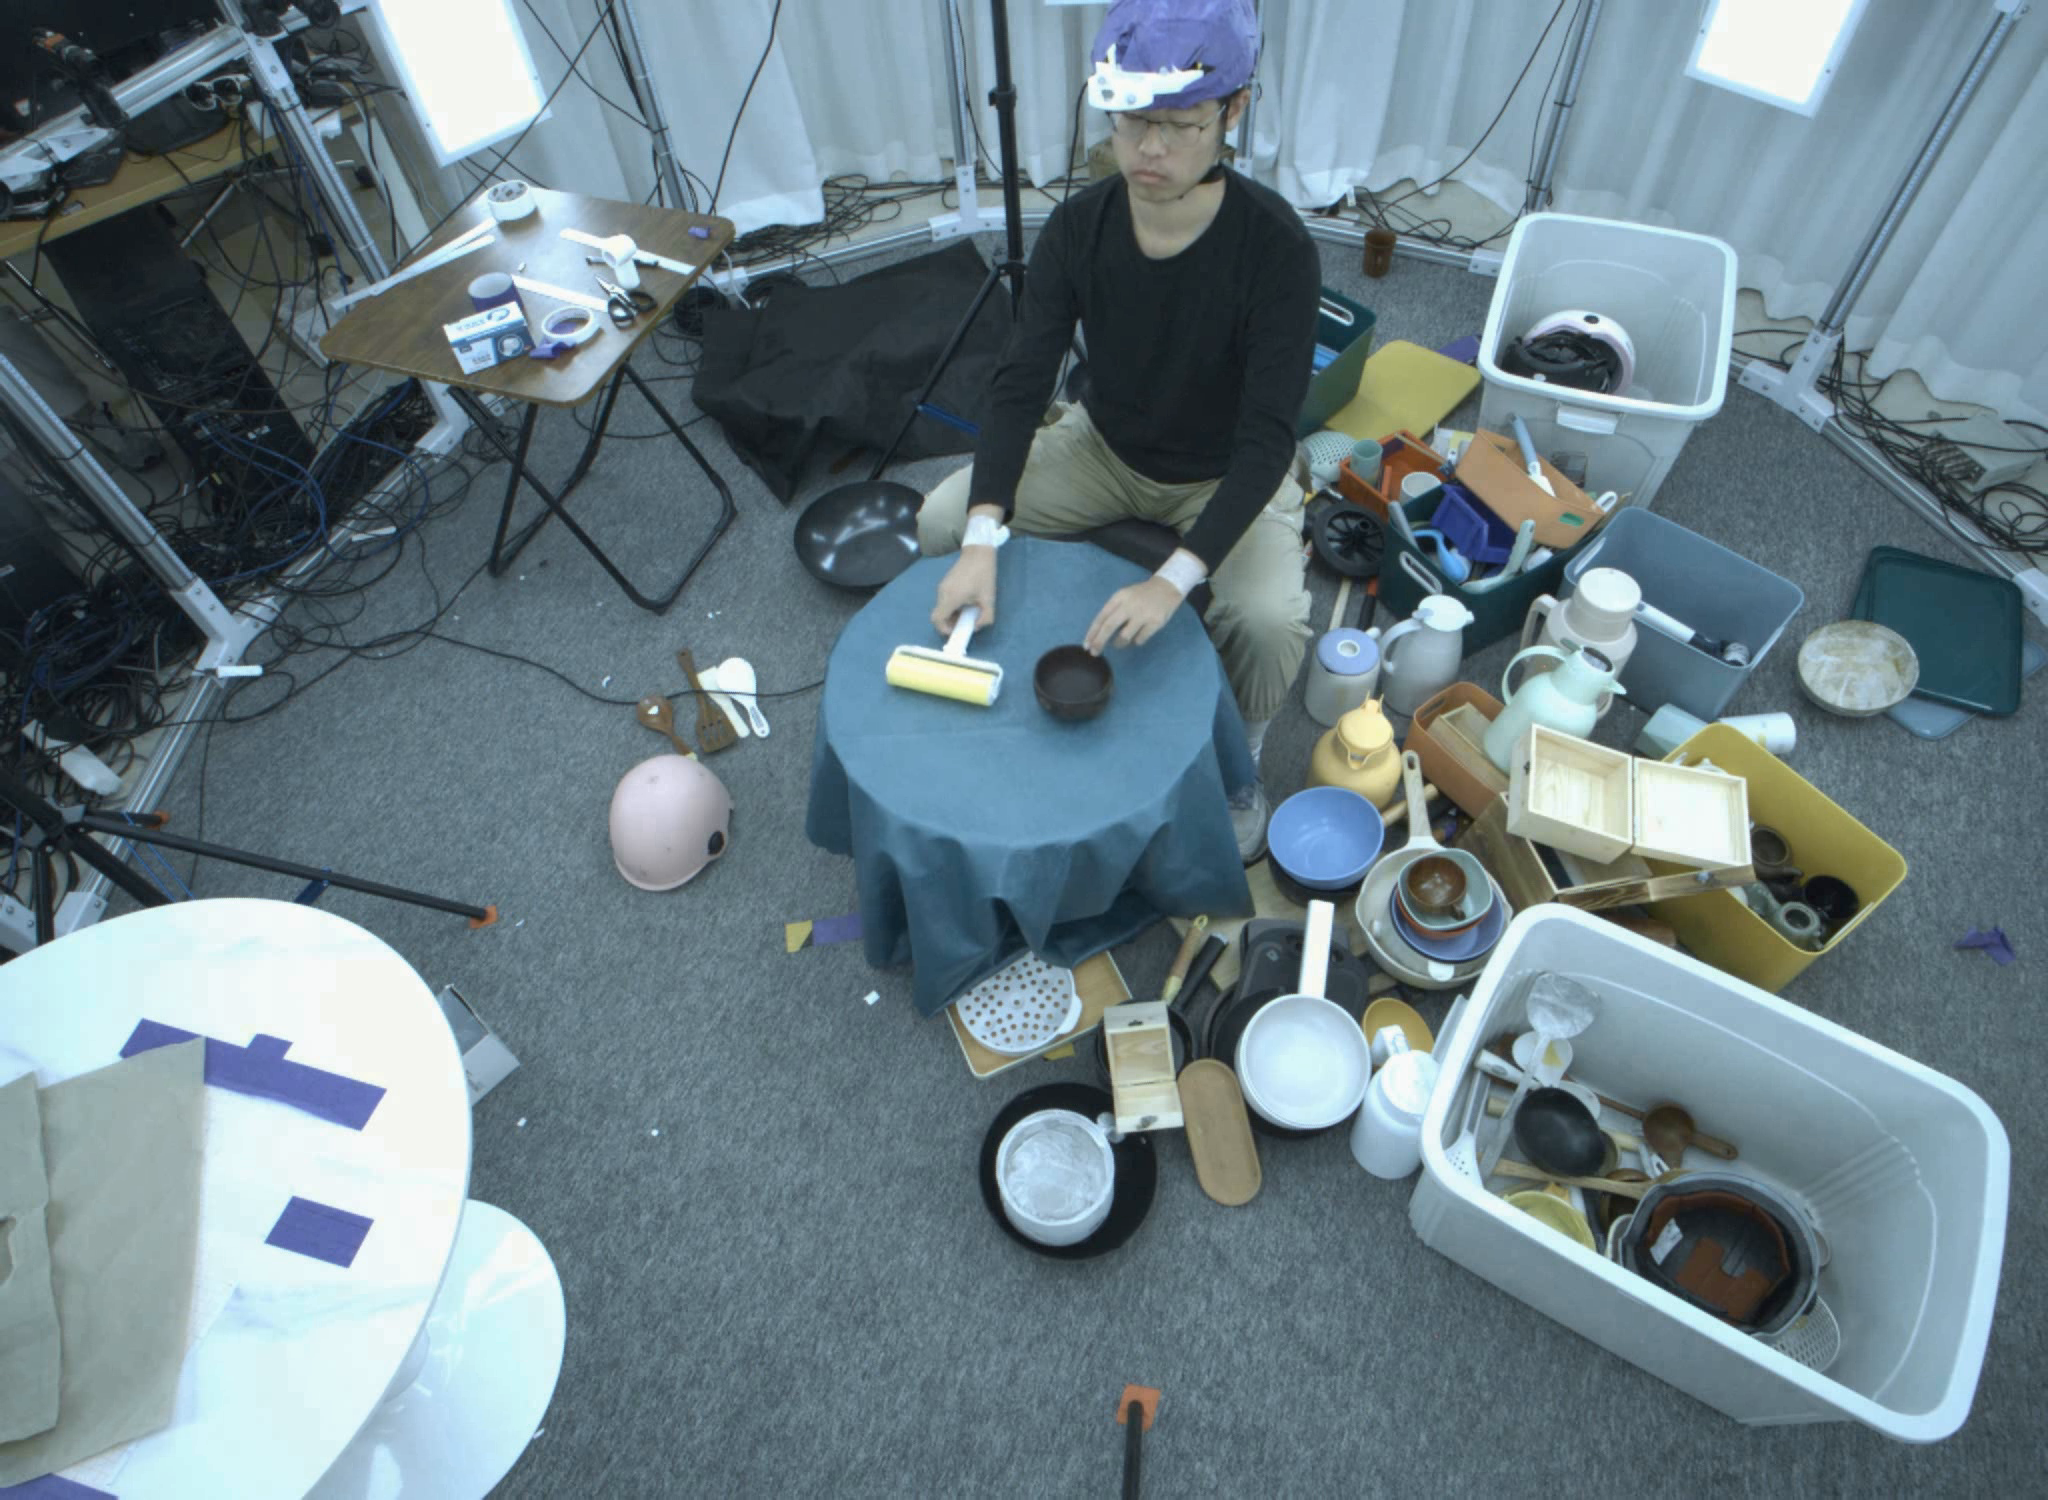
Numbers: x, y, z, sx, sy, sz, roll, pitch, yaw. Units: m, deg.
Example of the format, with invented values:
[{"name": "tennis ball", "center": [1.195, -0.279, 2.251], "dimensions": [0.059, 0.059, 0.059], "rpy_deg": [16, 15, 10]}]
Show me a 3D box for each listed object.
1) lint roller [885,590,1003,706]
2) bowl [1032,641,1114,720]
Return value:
[{"name": "lint roller", "center": [-0.105, -0.168, 1.864], "dimensions": [0.173, 0.052, 0.191], "rpy_deg": [12, 70, 10]}, {"name": "bowl", "center": [0.072, -0.094, 1.806], "dimensions": [0.118, 0.070, 0.117], "rpy_deg": [0, 56, 2]}]
